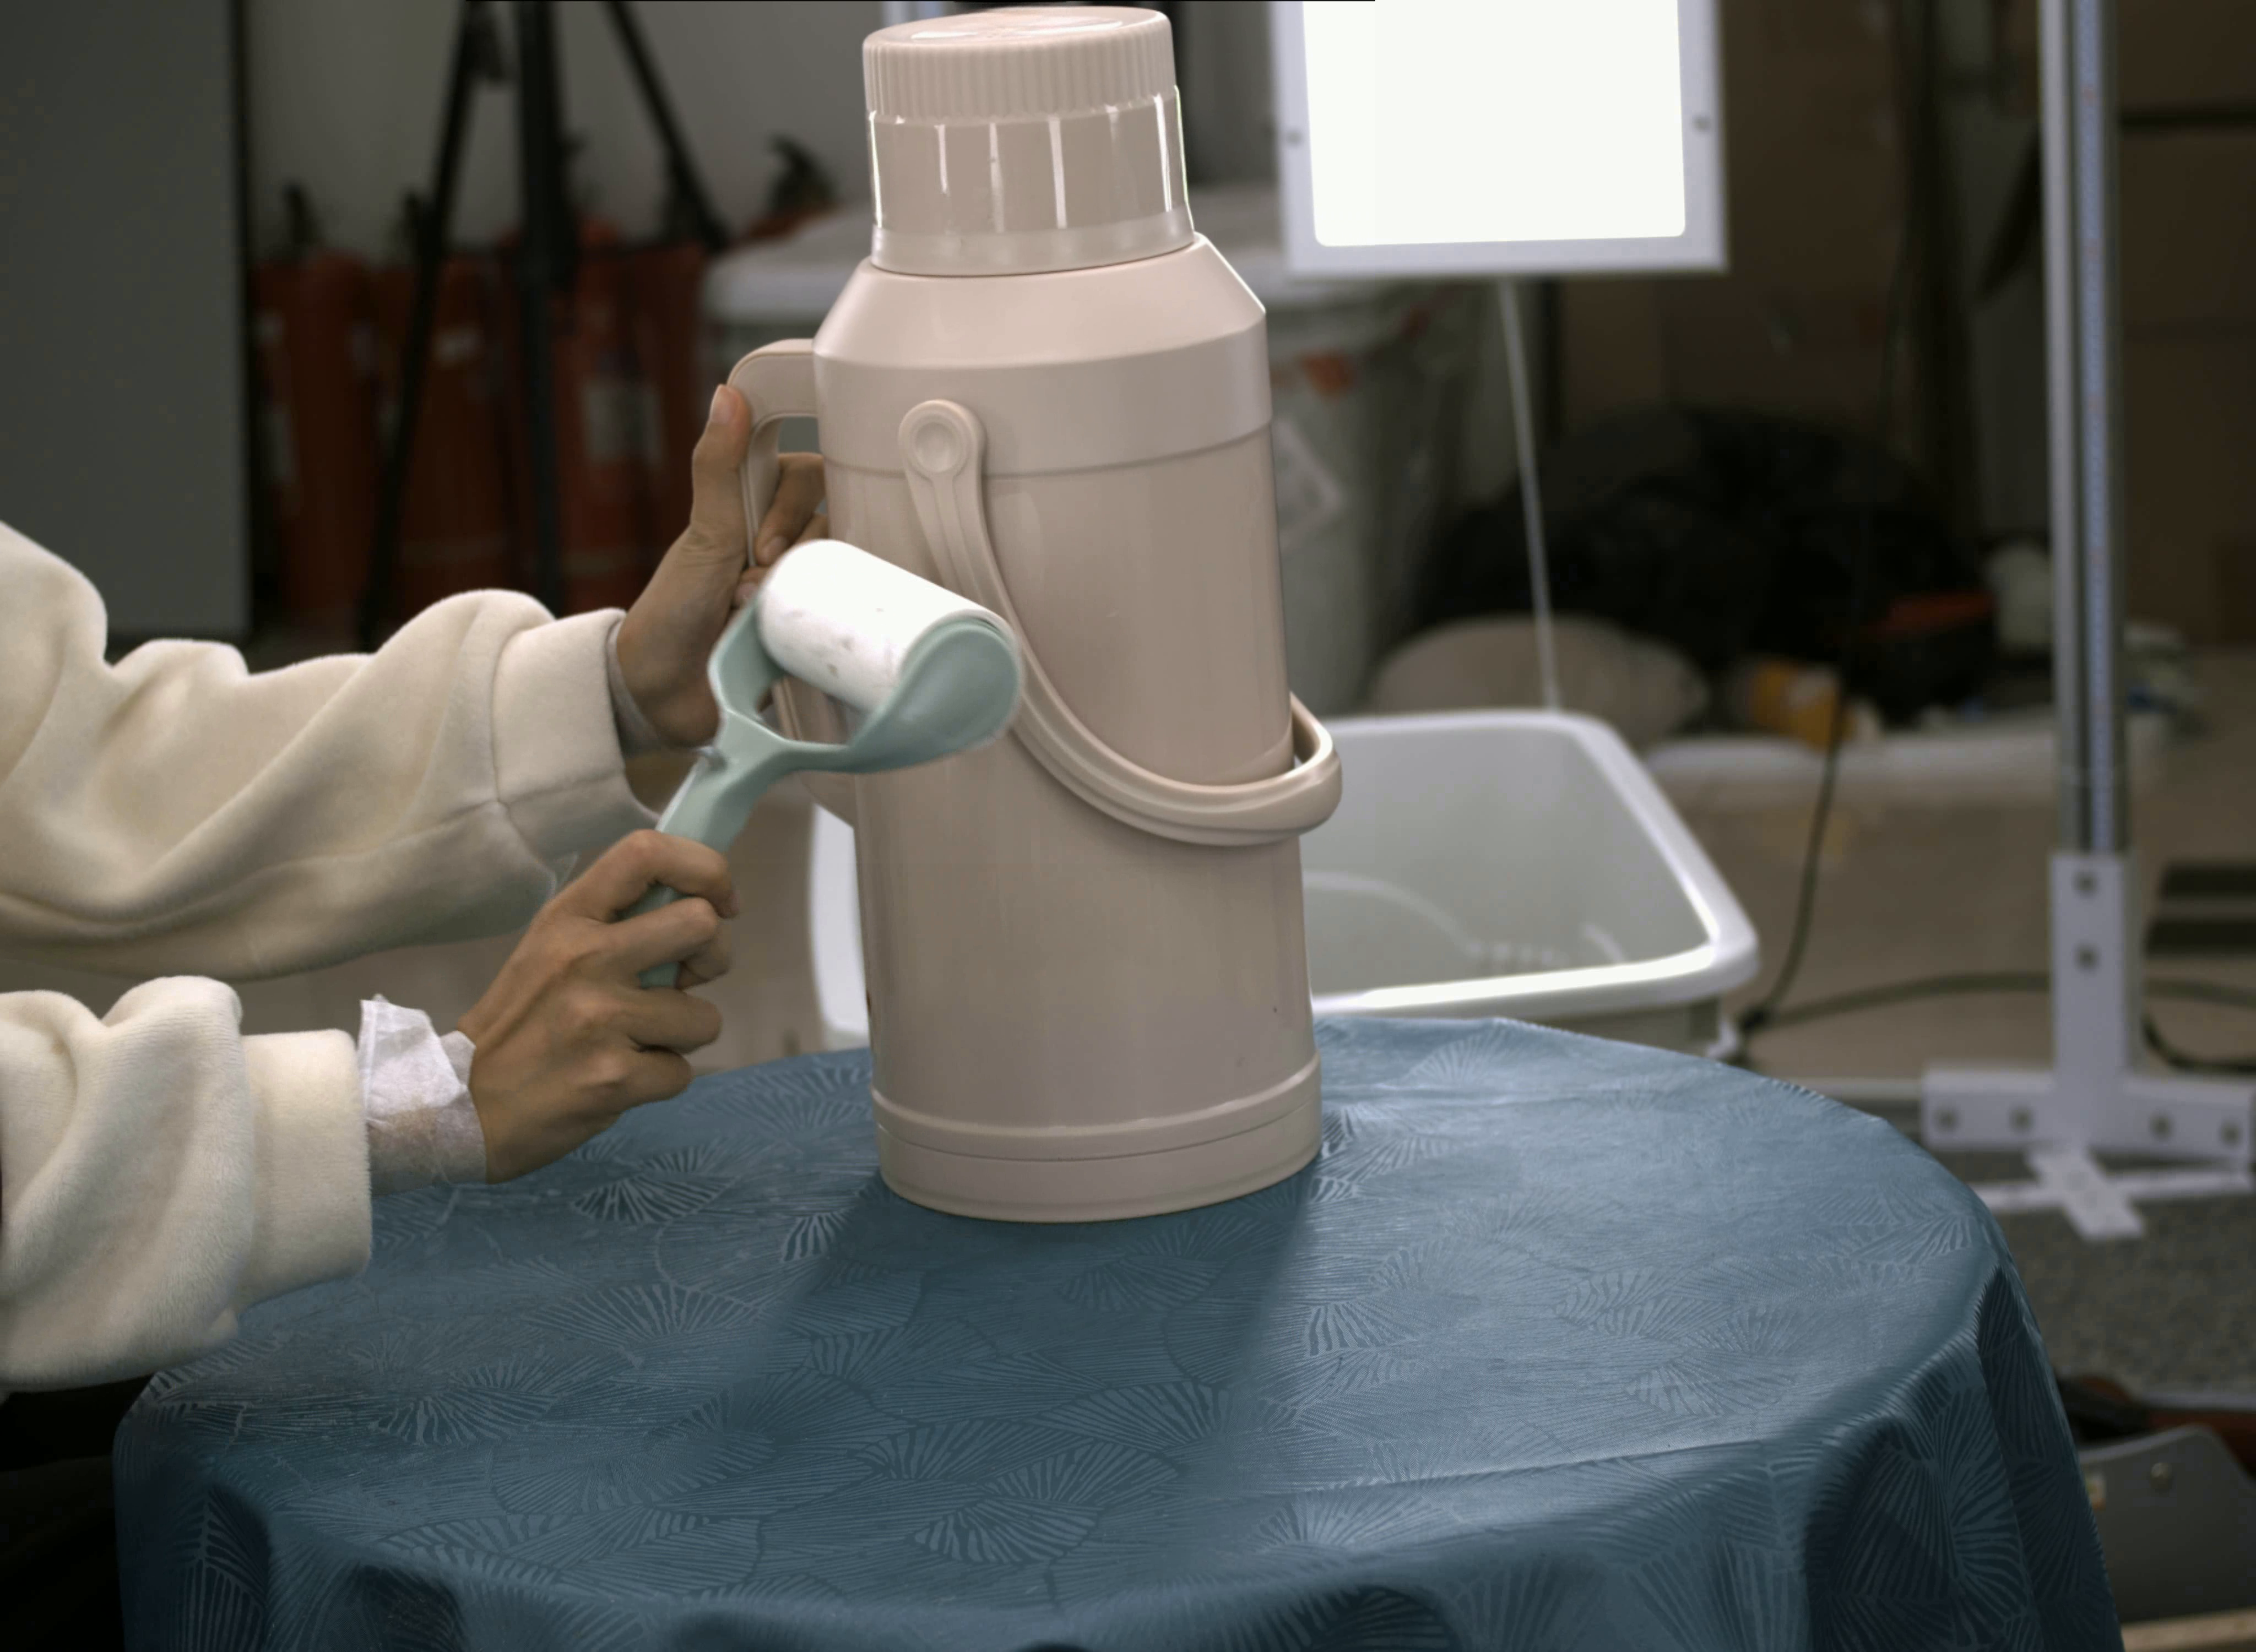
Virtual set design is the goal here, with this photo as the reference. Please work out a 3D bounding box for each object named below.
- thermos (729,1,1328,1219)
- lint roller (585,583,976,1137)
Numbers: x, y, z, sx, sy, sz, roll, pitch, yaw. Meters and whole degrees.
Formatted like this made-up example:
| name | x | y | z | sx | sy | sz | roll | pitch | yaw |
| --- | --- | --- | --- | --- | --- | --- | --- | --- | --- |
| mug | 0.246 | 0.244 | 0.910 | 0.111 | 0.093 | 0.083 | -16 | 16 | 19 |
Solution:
| name | x | y | z | sx | sy | sz | roll | pitch | yaw |
| --- | --- | --- | --- | --- | --- | --- | --- | --- | --- |
| thermos | -0.035 | -0.076 | 1.904 | 0.210 | 0.408 | 0.172 | 2 | 16 | 25 |
| lint roller | -0.132 | 0.007 | 1.758 | 0.119 | 0.048 | 0.196 | 7 | 61 | 46 |
